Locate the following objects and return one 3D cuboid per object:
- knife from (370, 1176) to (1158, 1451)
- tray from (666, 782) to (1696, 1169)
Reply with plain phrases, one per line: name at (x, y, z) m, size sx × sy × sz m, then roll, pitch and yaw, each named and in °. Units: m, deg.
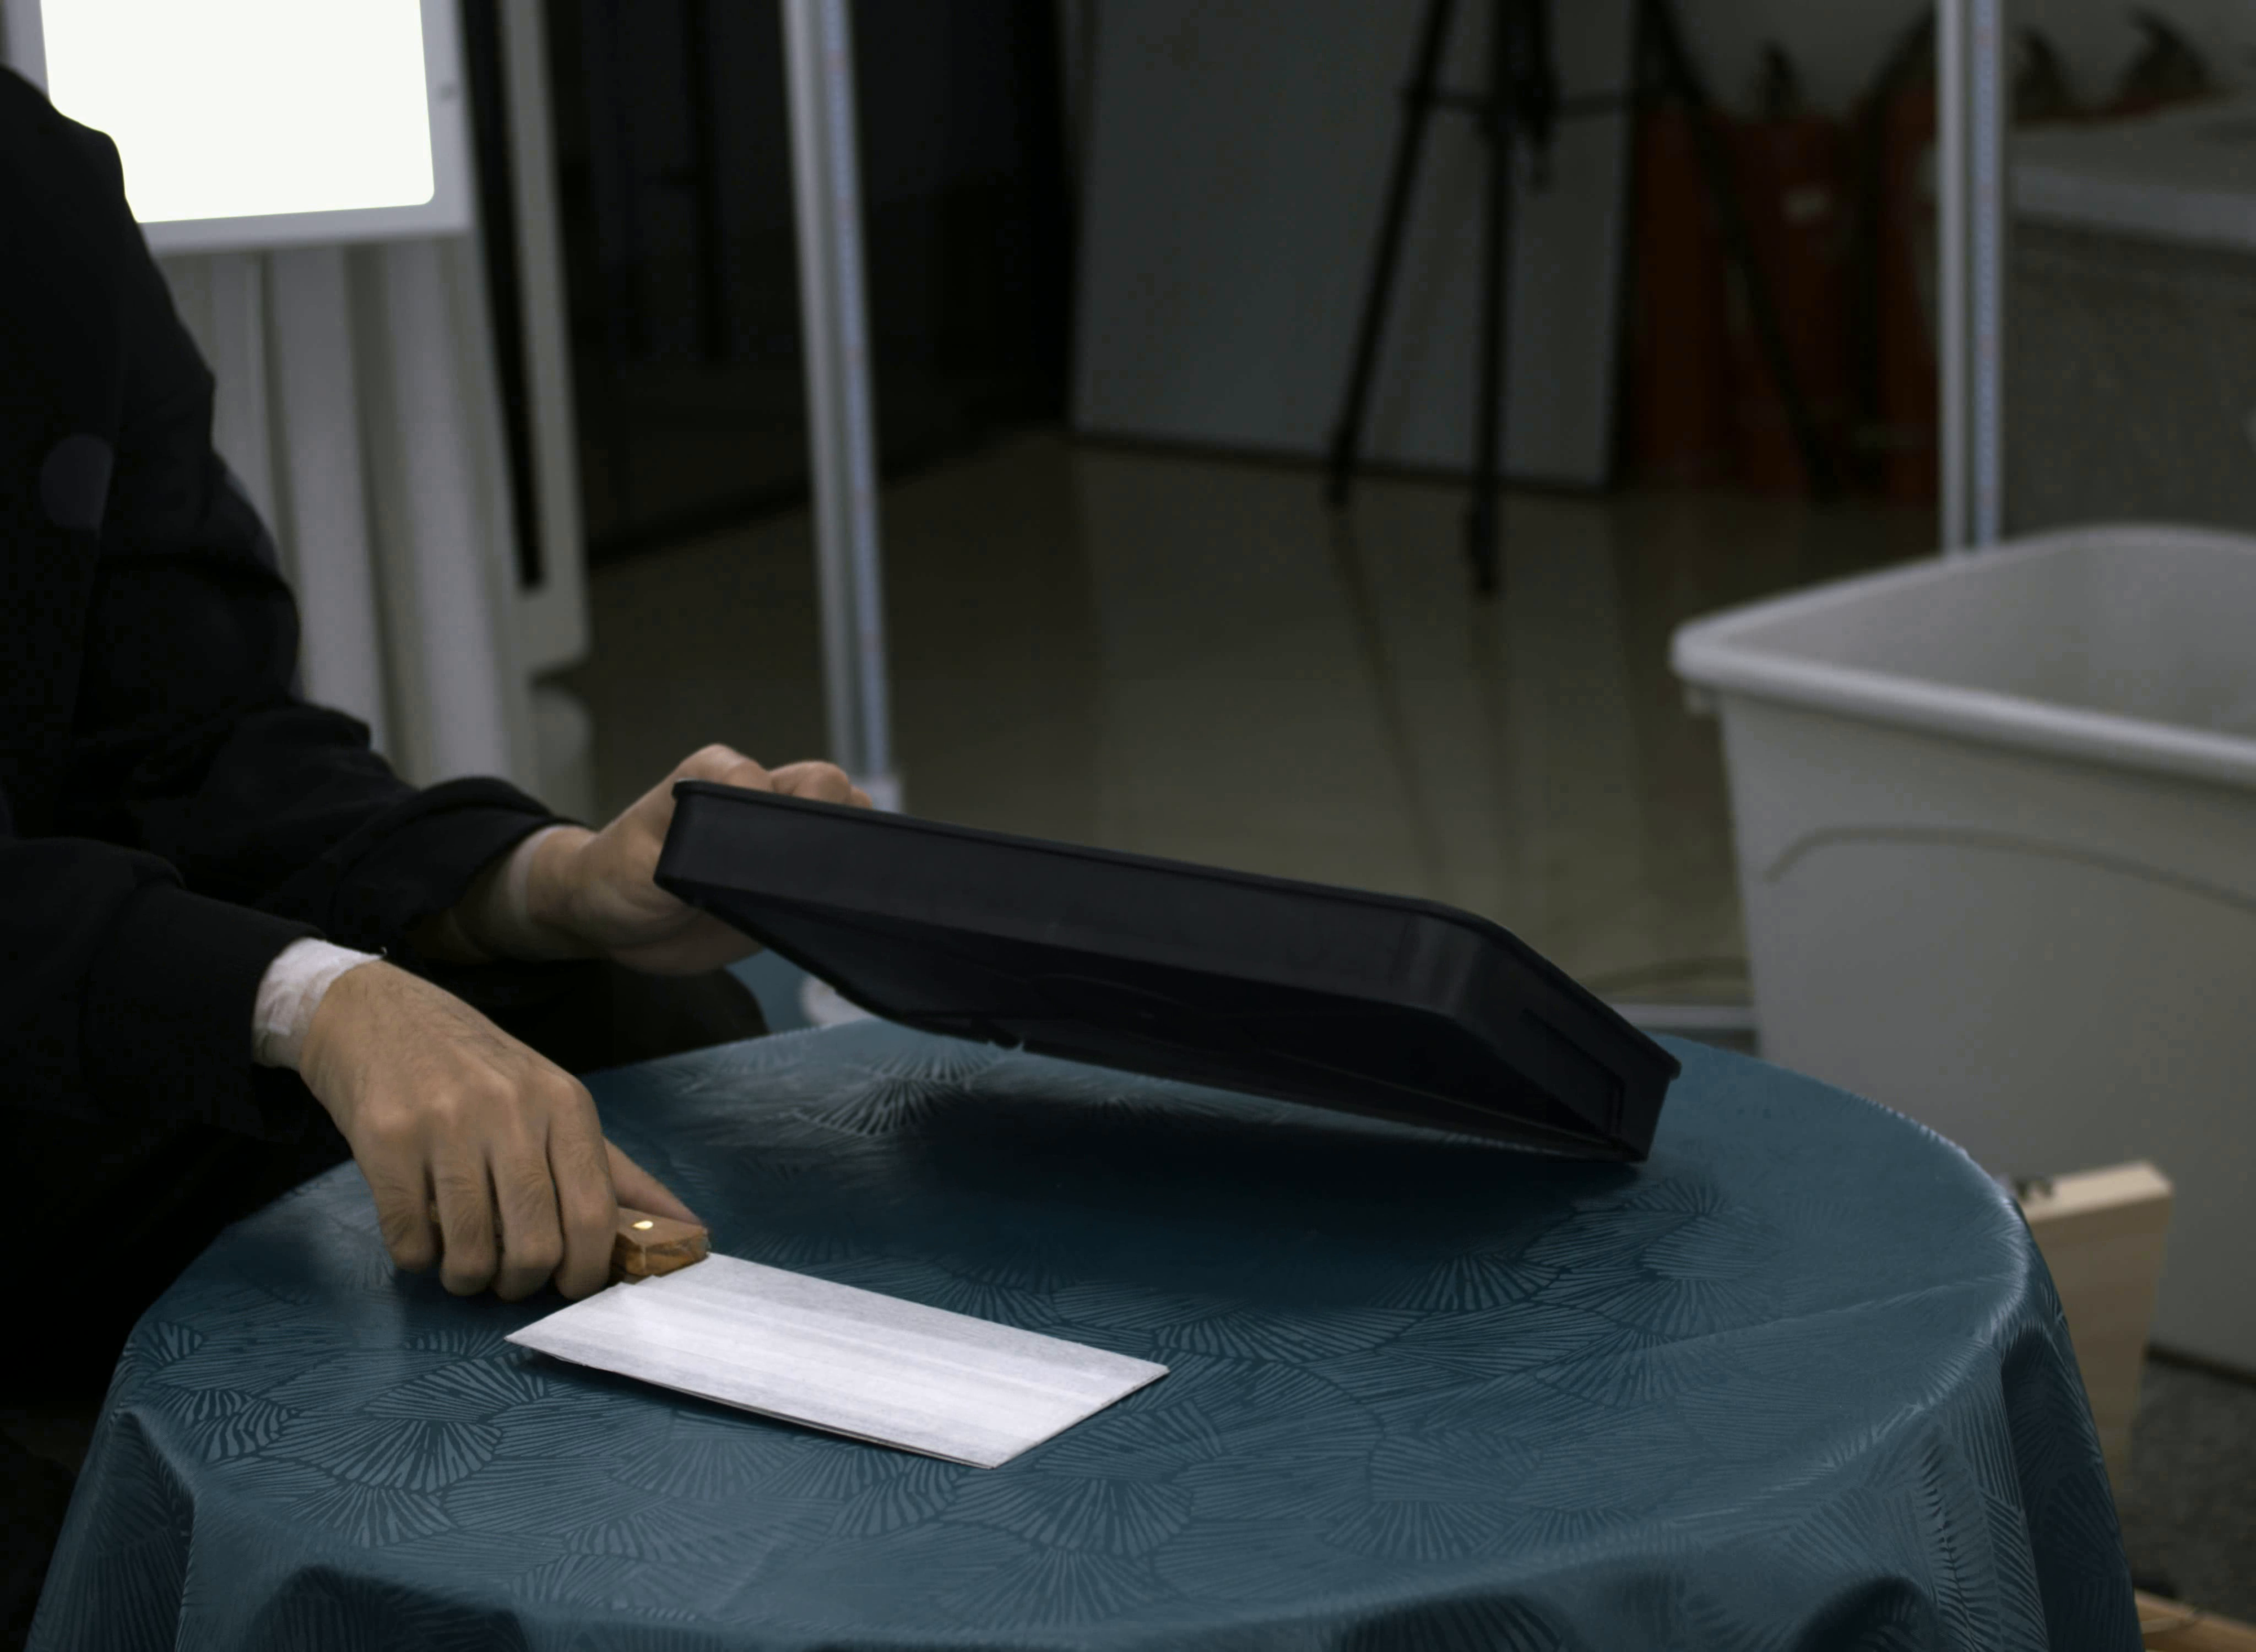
knife at (-0.132, 0.151, 1.656) m, size 0.308 × 0.021 × 0.091 m, roll 9°, pitch 20°, yaw 37°
tray at (0.016, 0.049, 1.769) m, size 0.319 × 0.037 × 0.182 m, roll 9°, pitch -15°, yaw 31°
